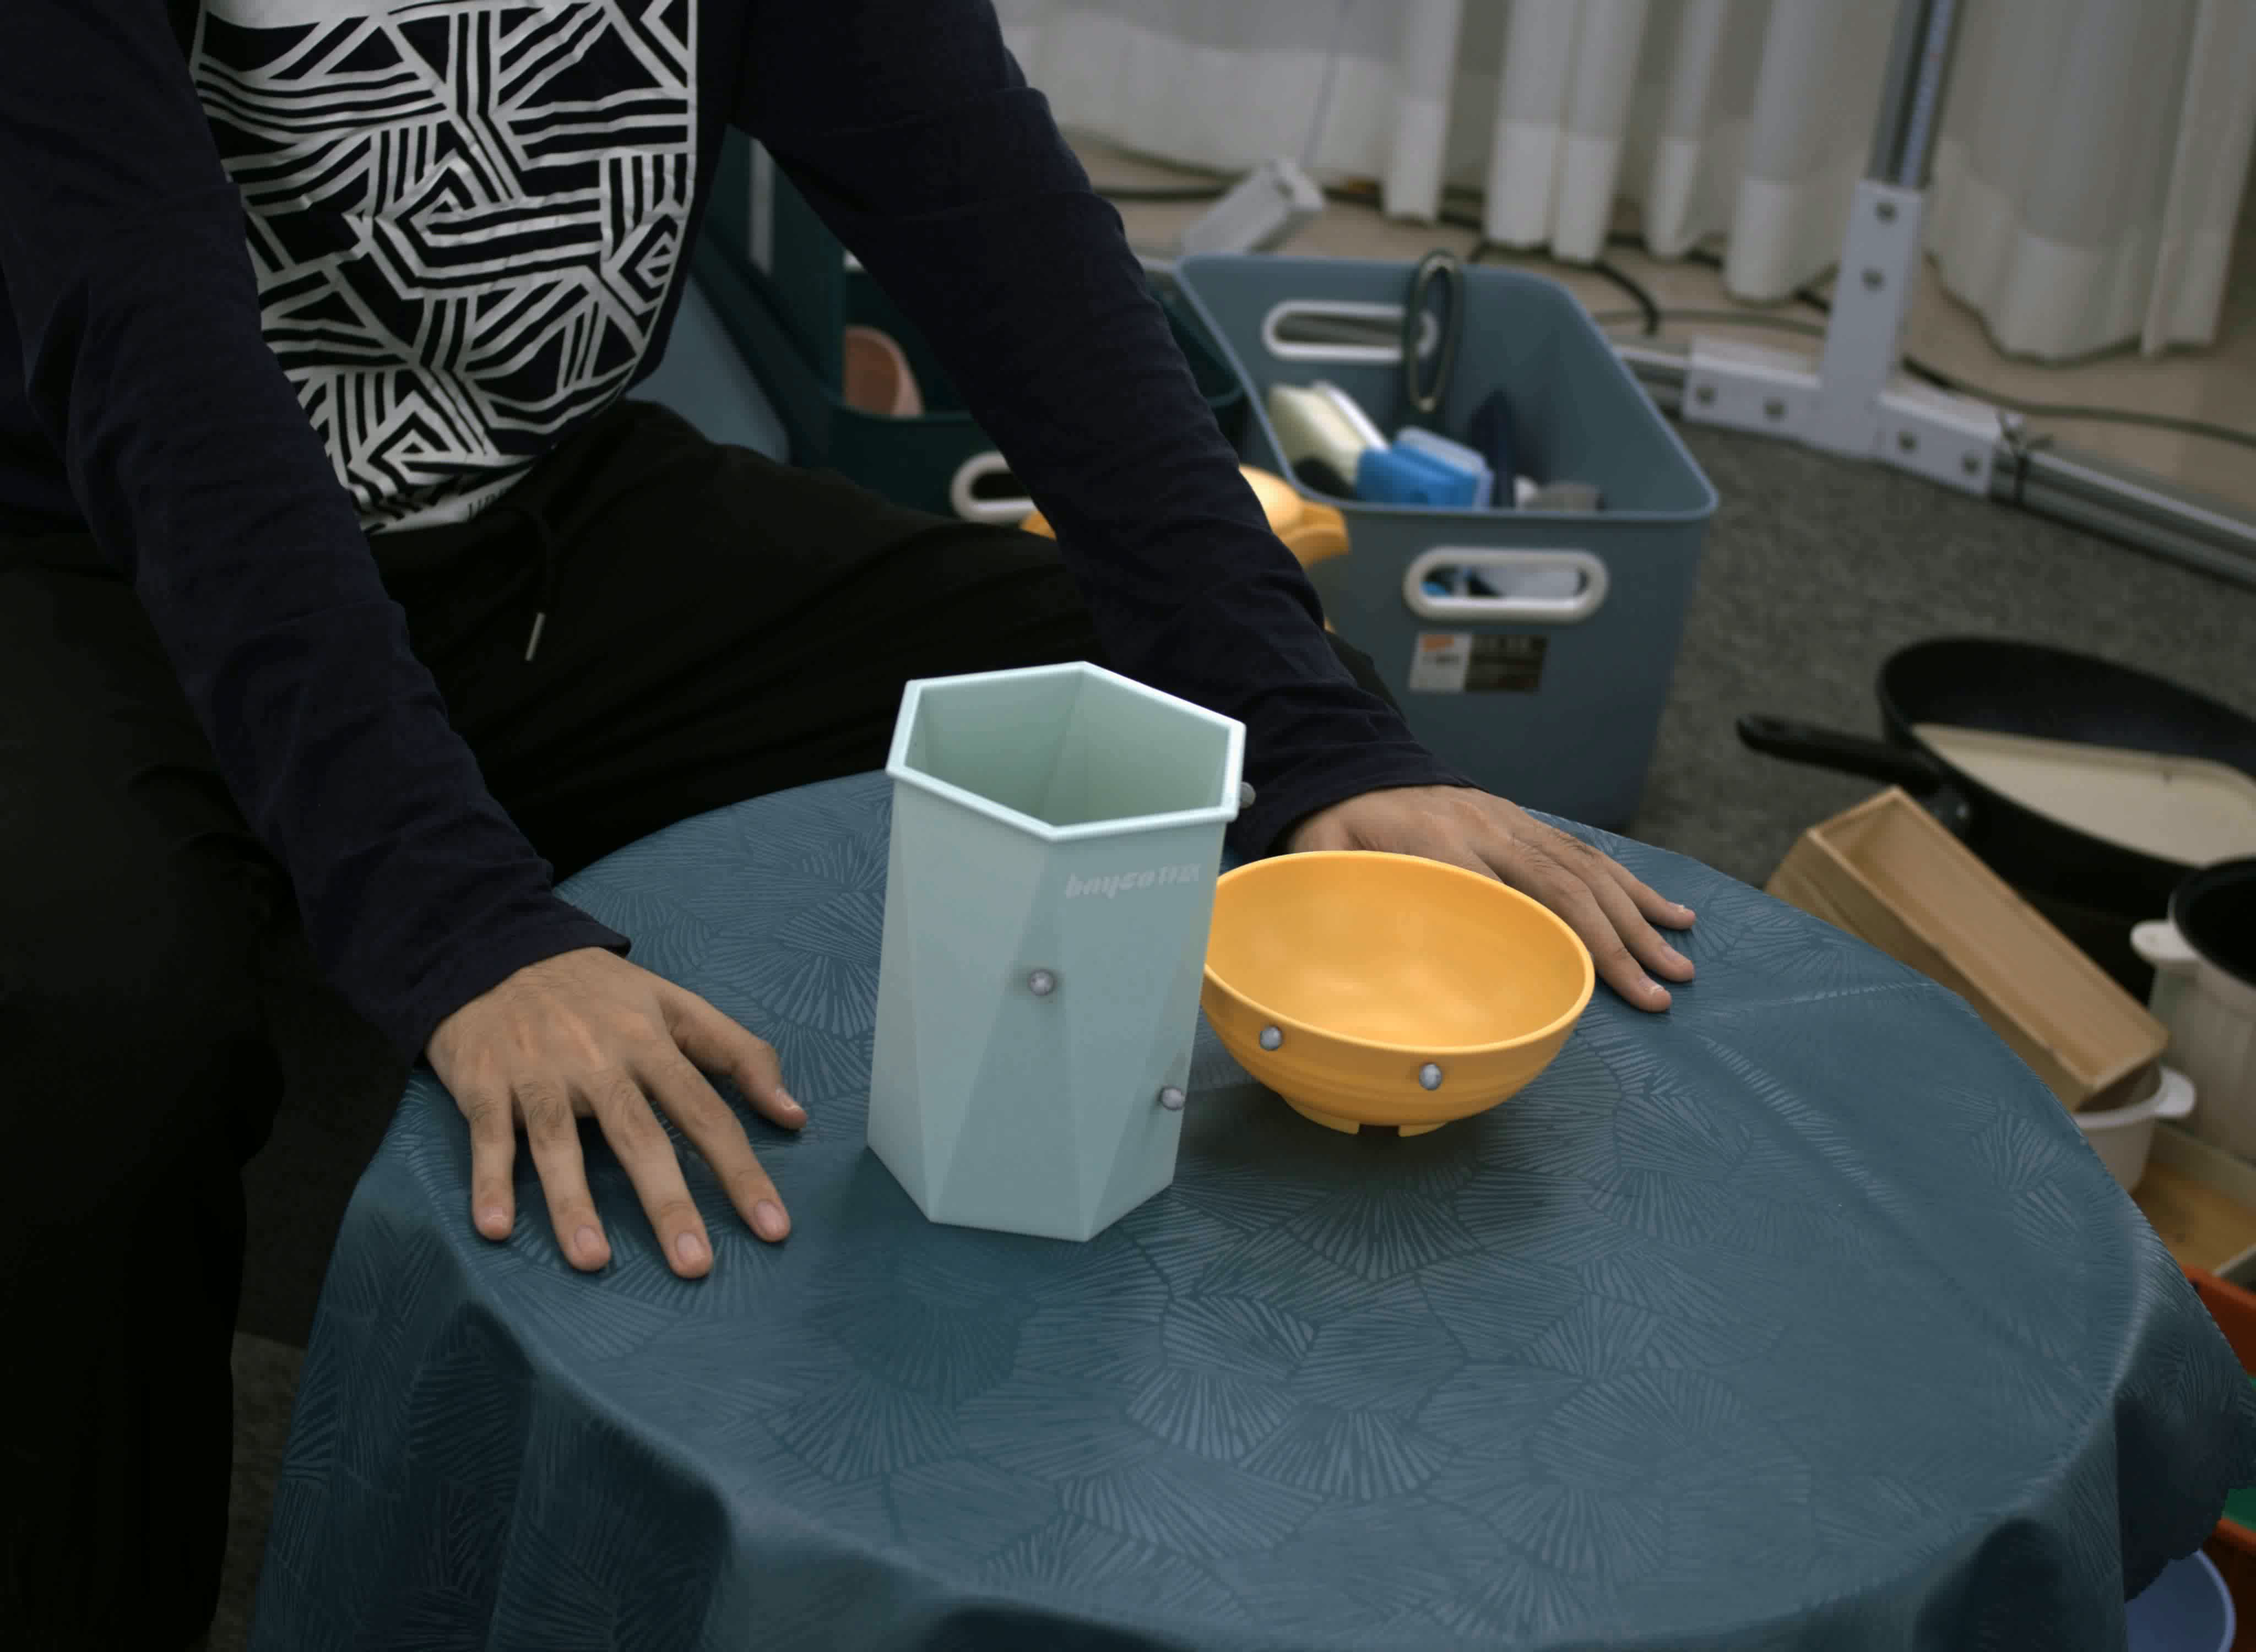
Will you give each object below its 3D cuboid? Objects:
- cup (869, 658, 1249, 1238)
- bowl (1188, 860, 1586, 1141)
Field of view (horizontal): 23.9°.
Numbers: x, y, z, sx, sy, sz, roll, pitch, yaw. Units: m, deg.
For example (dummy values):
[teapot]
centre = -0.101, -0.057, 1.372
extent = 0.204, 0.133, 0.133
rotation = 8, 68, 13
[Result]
[cup]
centre = -0.026, 0.043, 1.778
extent = 0.130, 0.162, 0.116
rotation = -7, 28, -27
[bowl]
centre = 0.086, 0.070, 1.874
extent = 0.145, 0.060, 0.146
rotation = 6, 25, -3
